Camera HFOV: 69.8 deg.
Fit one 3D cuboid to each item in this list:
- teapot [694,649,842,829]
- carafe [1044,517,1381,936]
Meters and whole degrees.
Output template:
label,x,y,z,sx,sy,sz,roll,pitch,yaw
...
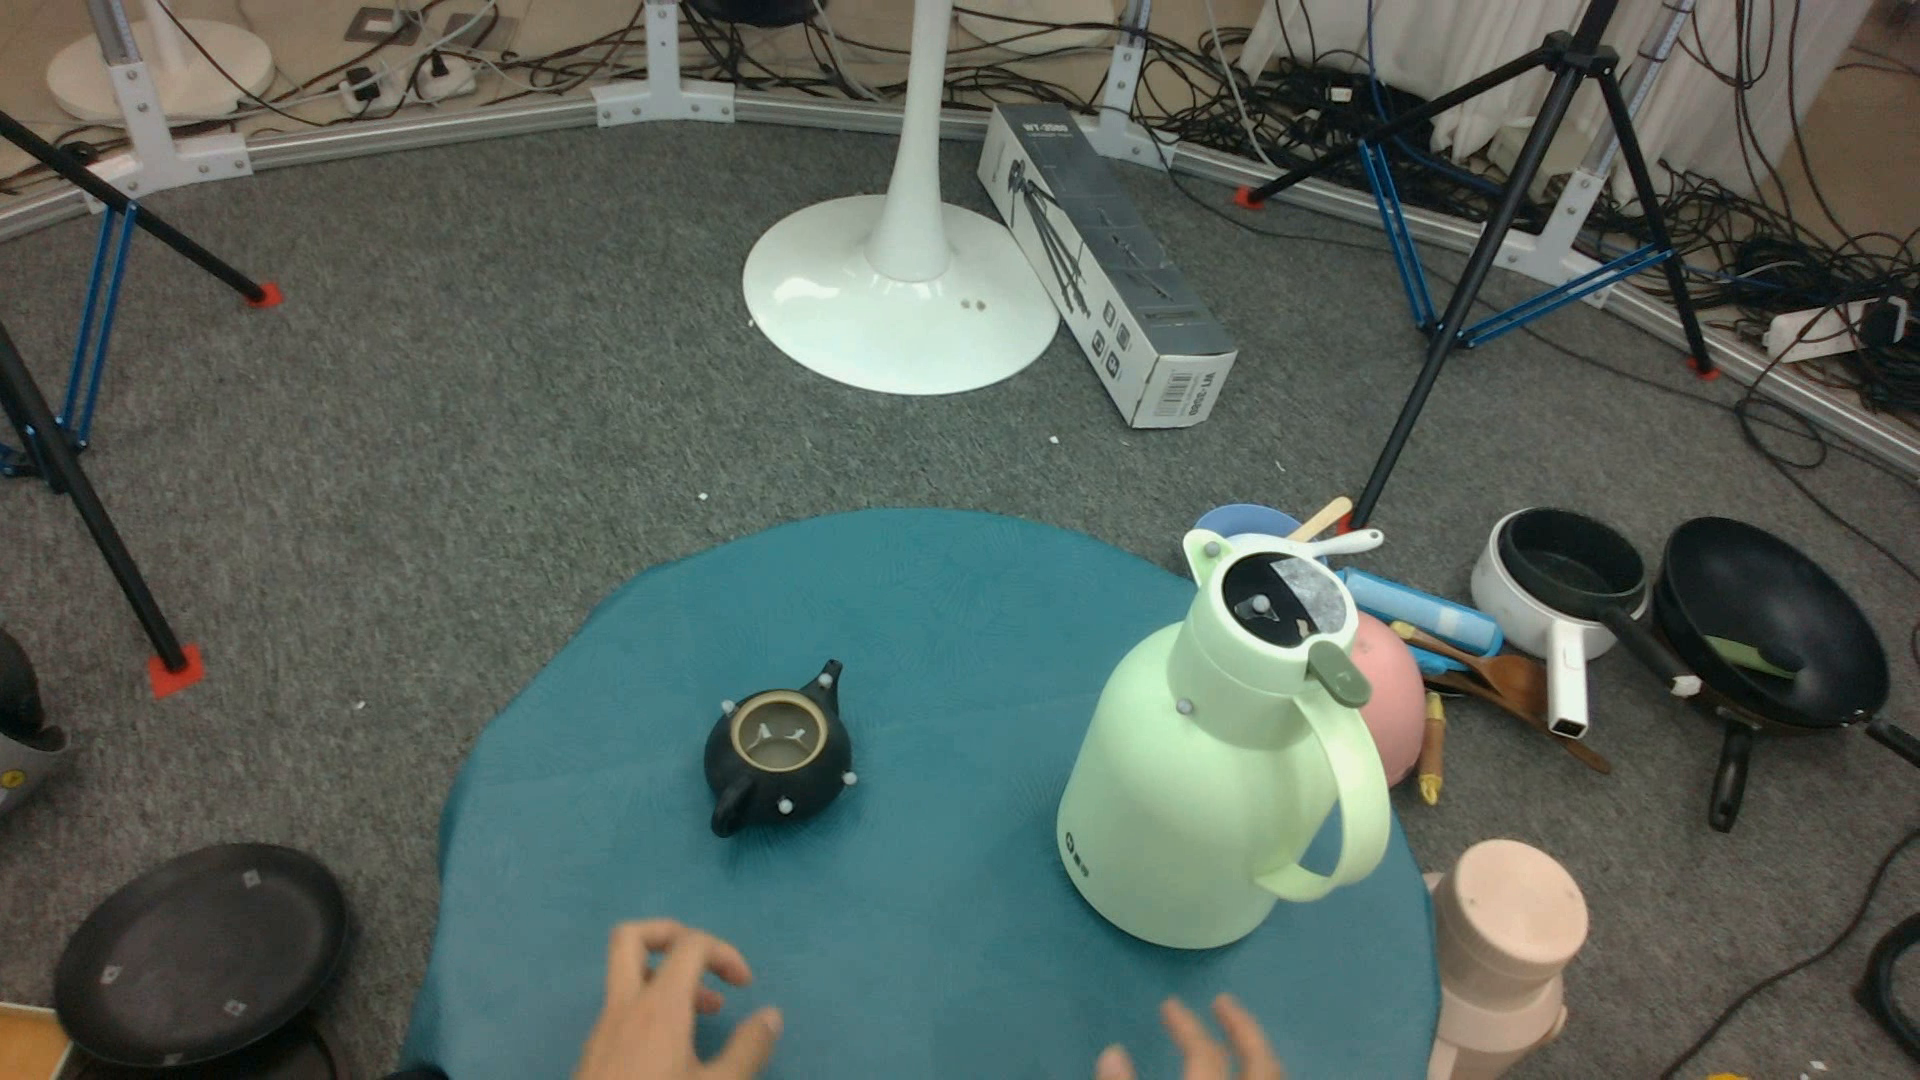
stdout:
label,x,y,z,sx,sy,sz,roll,pitch,yaw
teapot,-0.118,0.126,0.846,0.091,0.053,0.134,24,48,14
carafe,0.147,0.117,0.771,0.144,0.255,0.187,-16,56,-25
